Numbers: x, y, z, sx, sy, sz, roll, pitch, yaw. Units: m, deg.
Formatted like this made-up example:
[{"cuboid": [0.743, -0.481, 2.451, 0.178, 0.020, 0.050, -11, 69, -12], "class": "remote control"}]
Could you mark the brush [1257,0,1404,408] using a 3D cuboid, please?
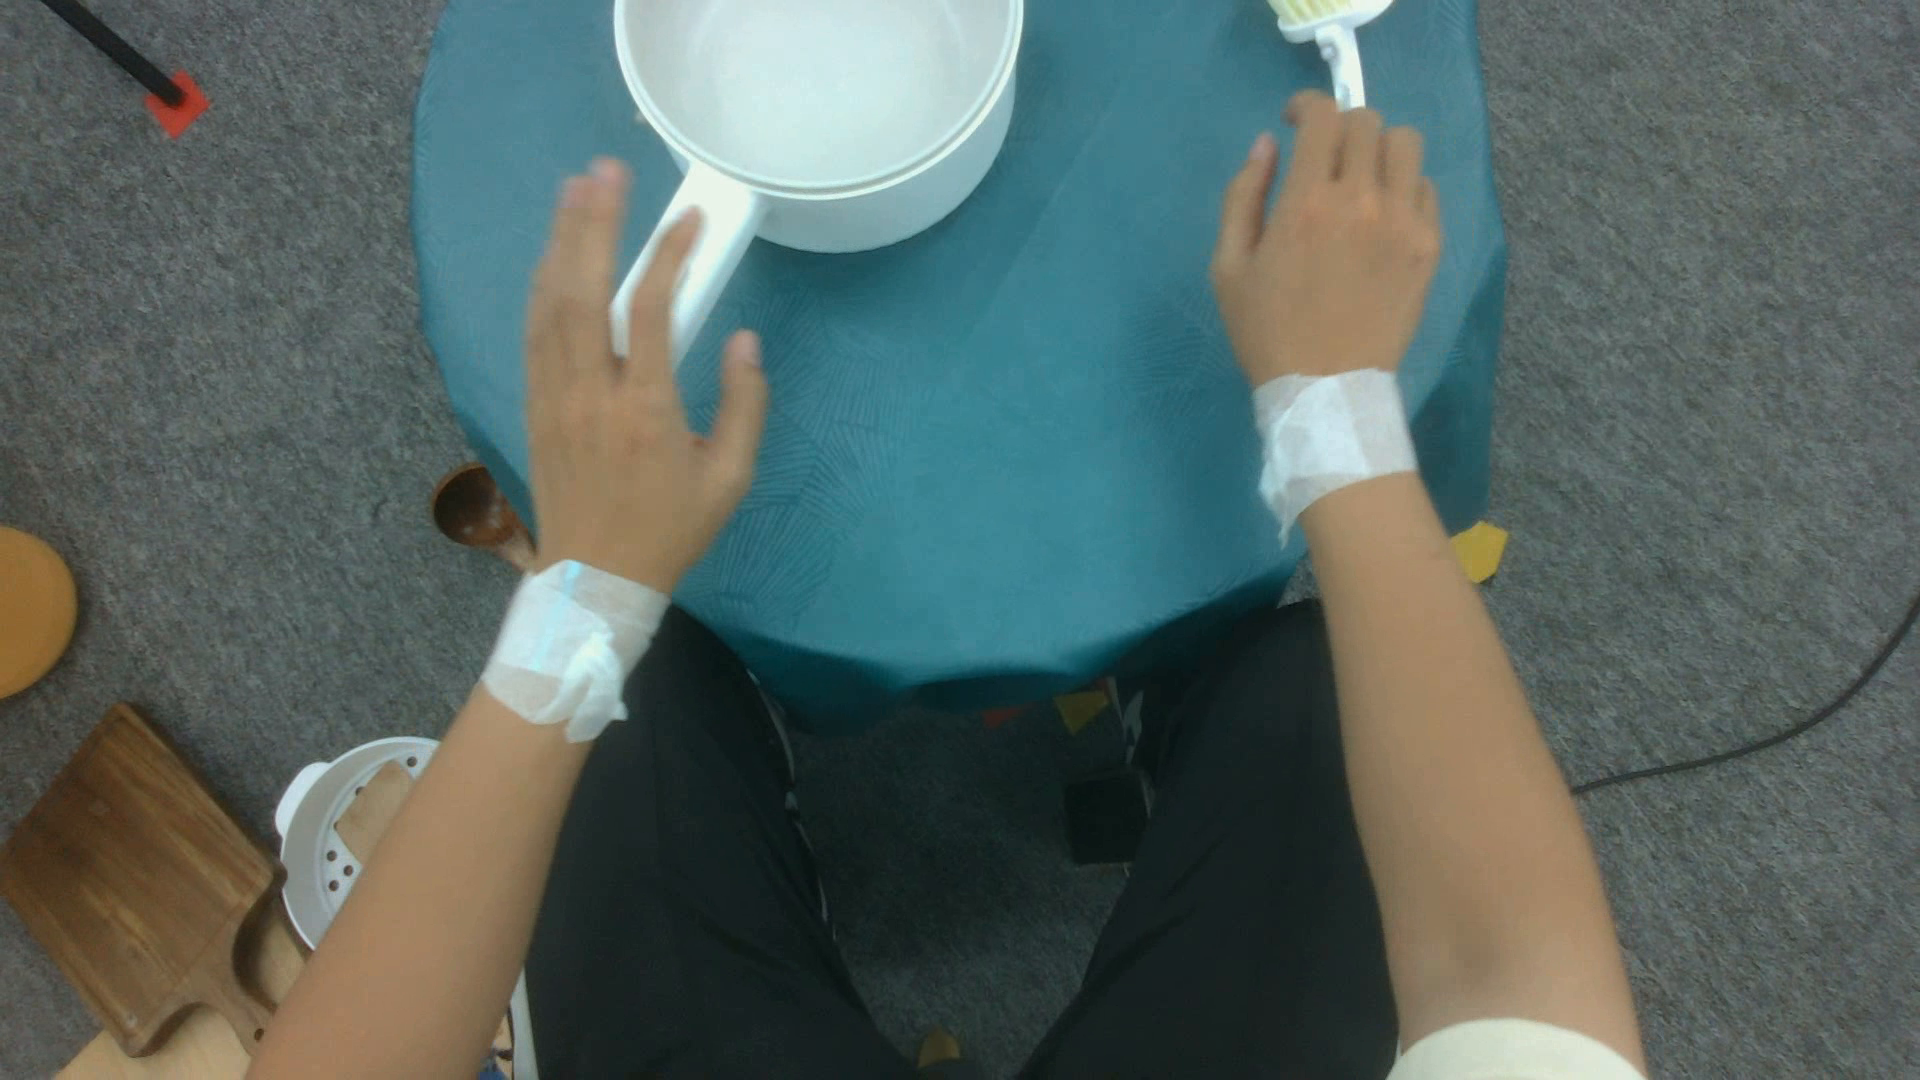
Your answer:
[{"cuboid": [0.191, -0.230, 0.734, 0.084, 0.083, 0.326, 17, 78, -1], "class": "brush"}]

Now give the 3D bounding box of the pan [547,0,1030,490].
[{"cuboid": [-0.098, -0.181, 0.727, 0.201, 0.102, 0.355, 26, 80, 7], "class": "pan"}]
